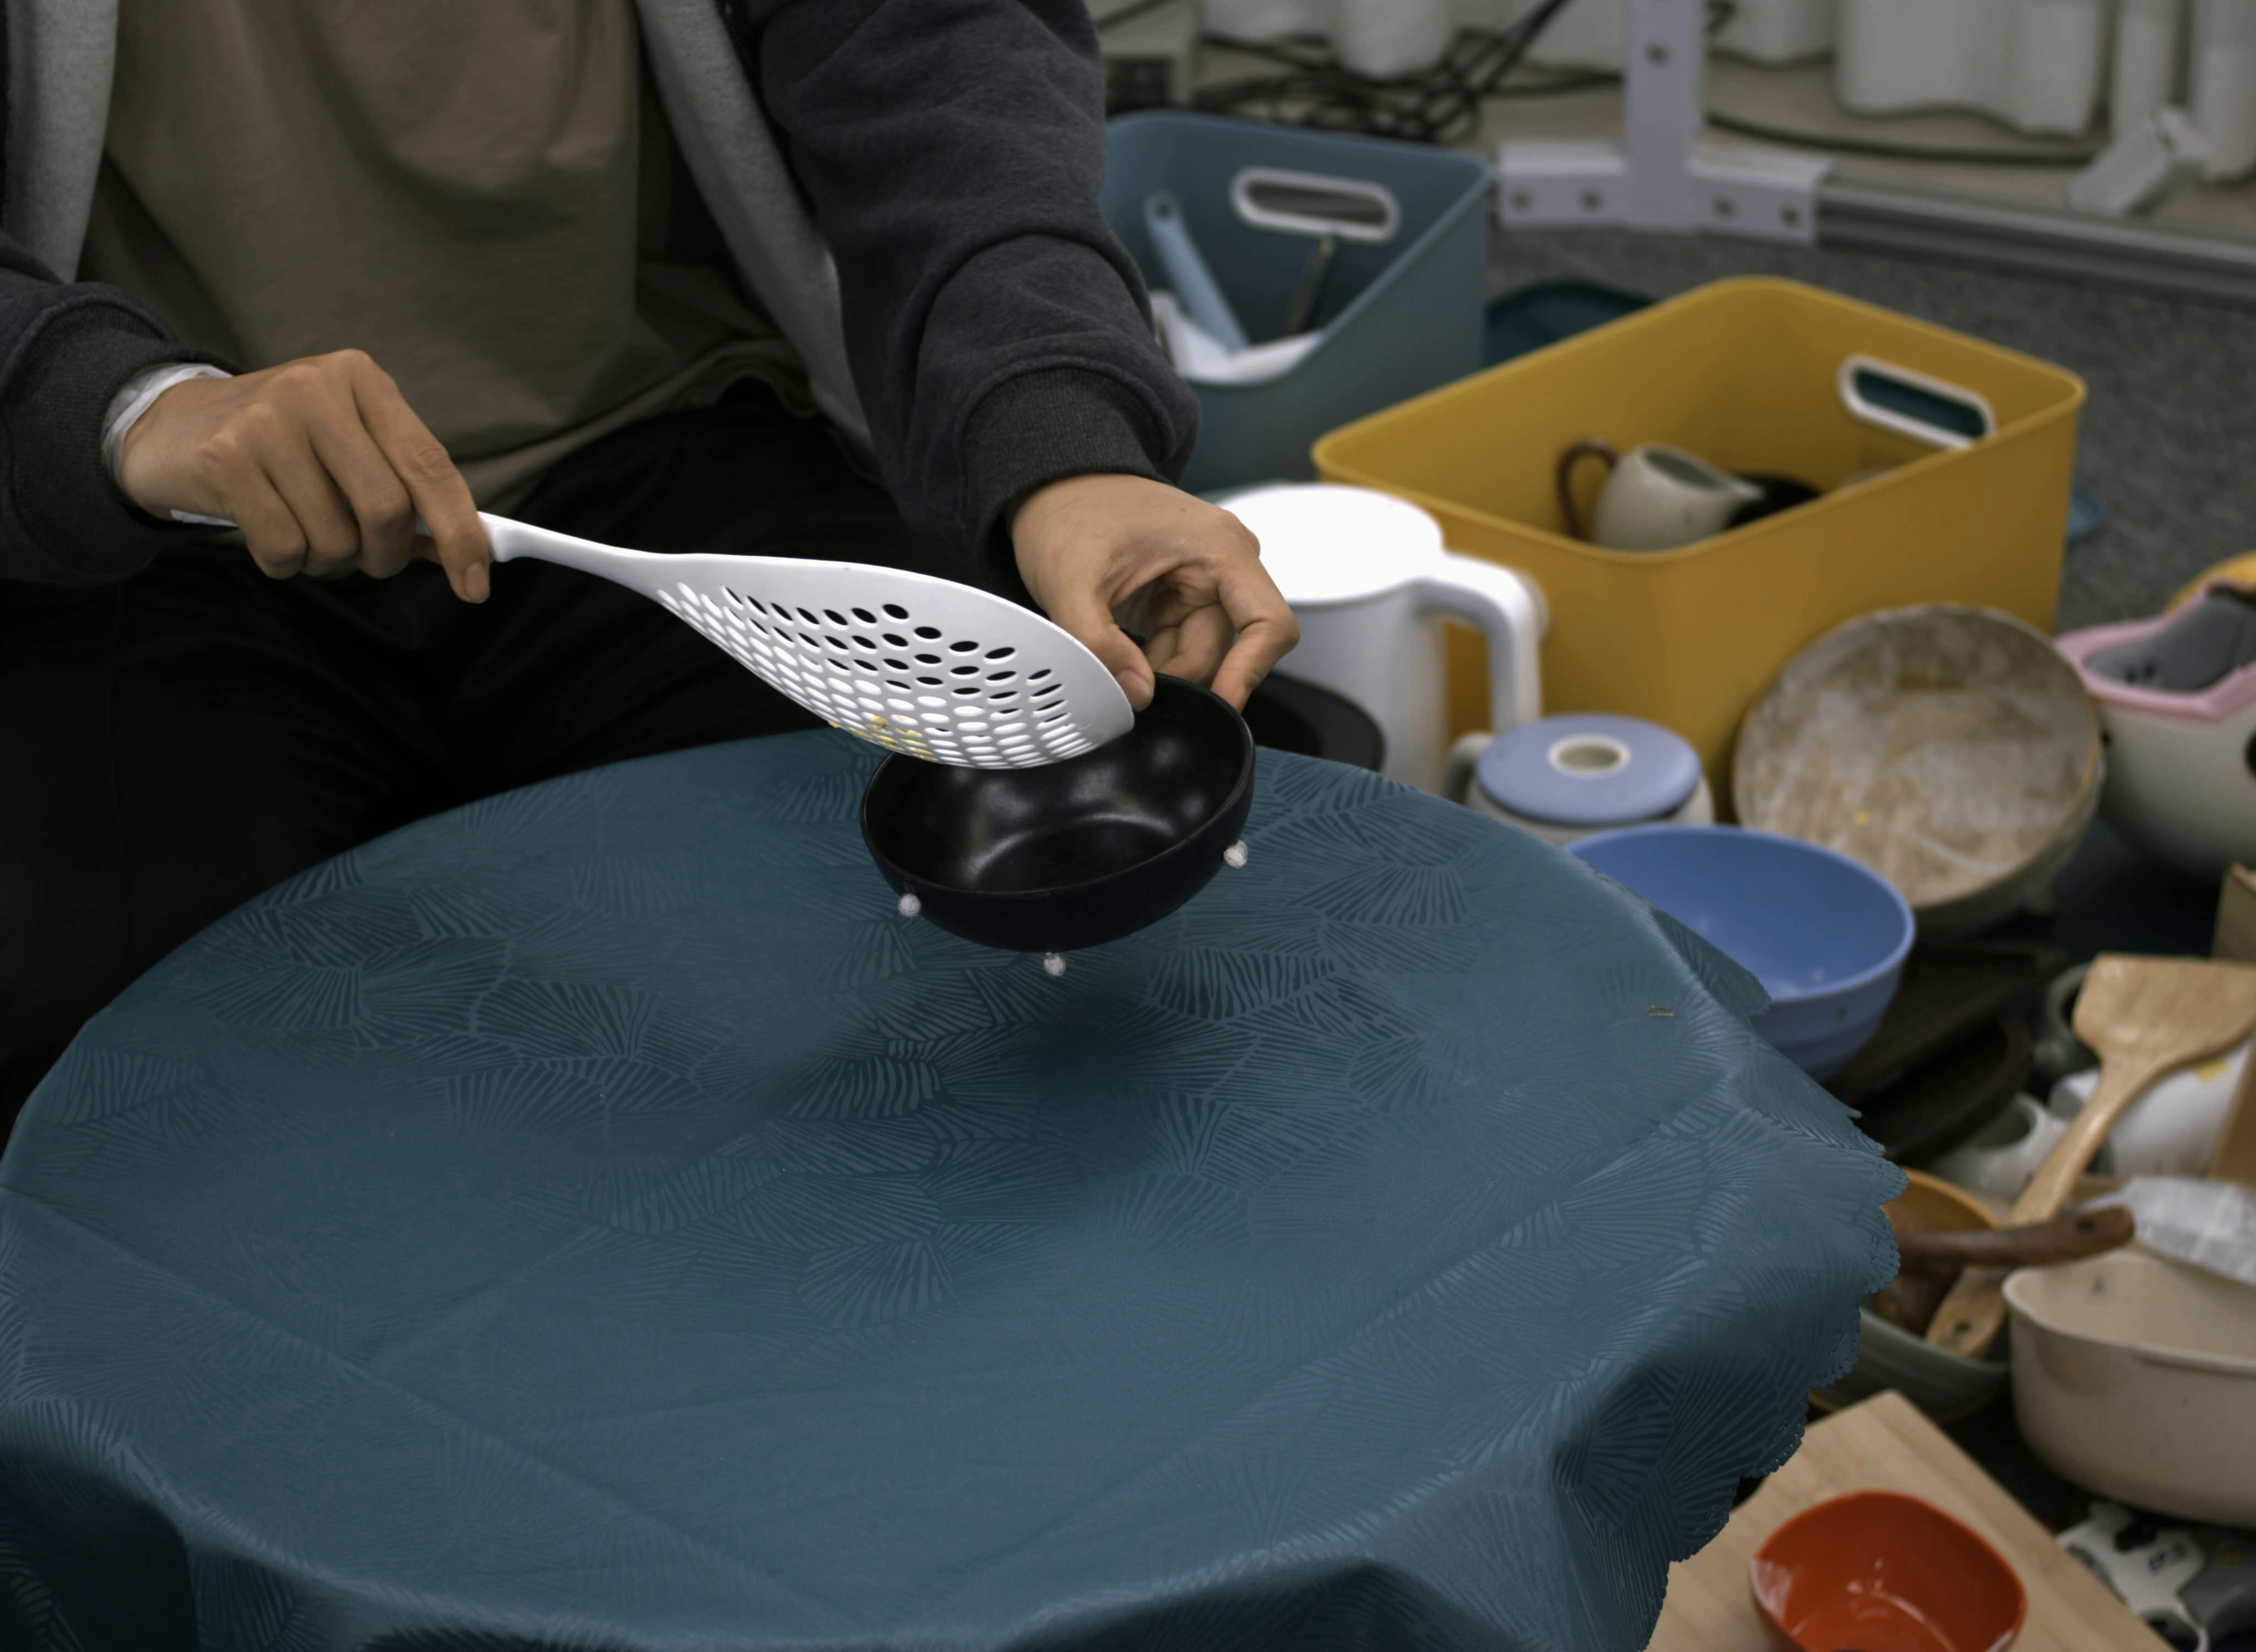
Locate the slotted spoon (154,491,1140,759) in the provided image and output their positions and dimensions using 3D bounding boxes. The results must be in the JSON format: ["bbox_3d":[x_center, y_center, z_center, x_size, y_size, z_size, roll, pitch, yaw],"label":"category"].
[{"bbox_3d":[-0.165,-0.077,1.900,0.346,0.051,0.136,17,-13,15],"label":"slotted spoon"}]
